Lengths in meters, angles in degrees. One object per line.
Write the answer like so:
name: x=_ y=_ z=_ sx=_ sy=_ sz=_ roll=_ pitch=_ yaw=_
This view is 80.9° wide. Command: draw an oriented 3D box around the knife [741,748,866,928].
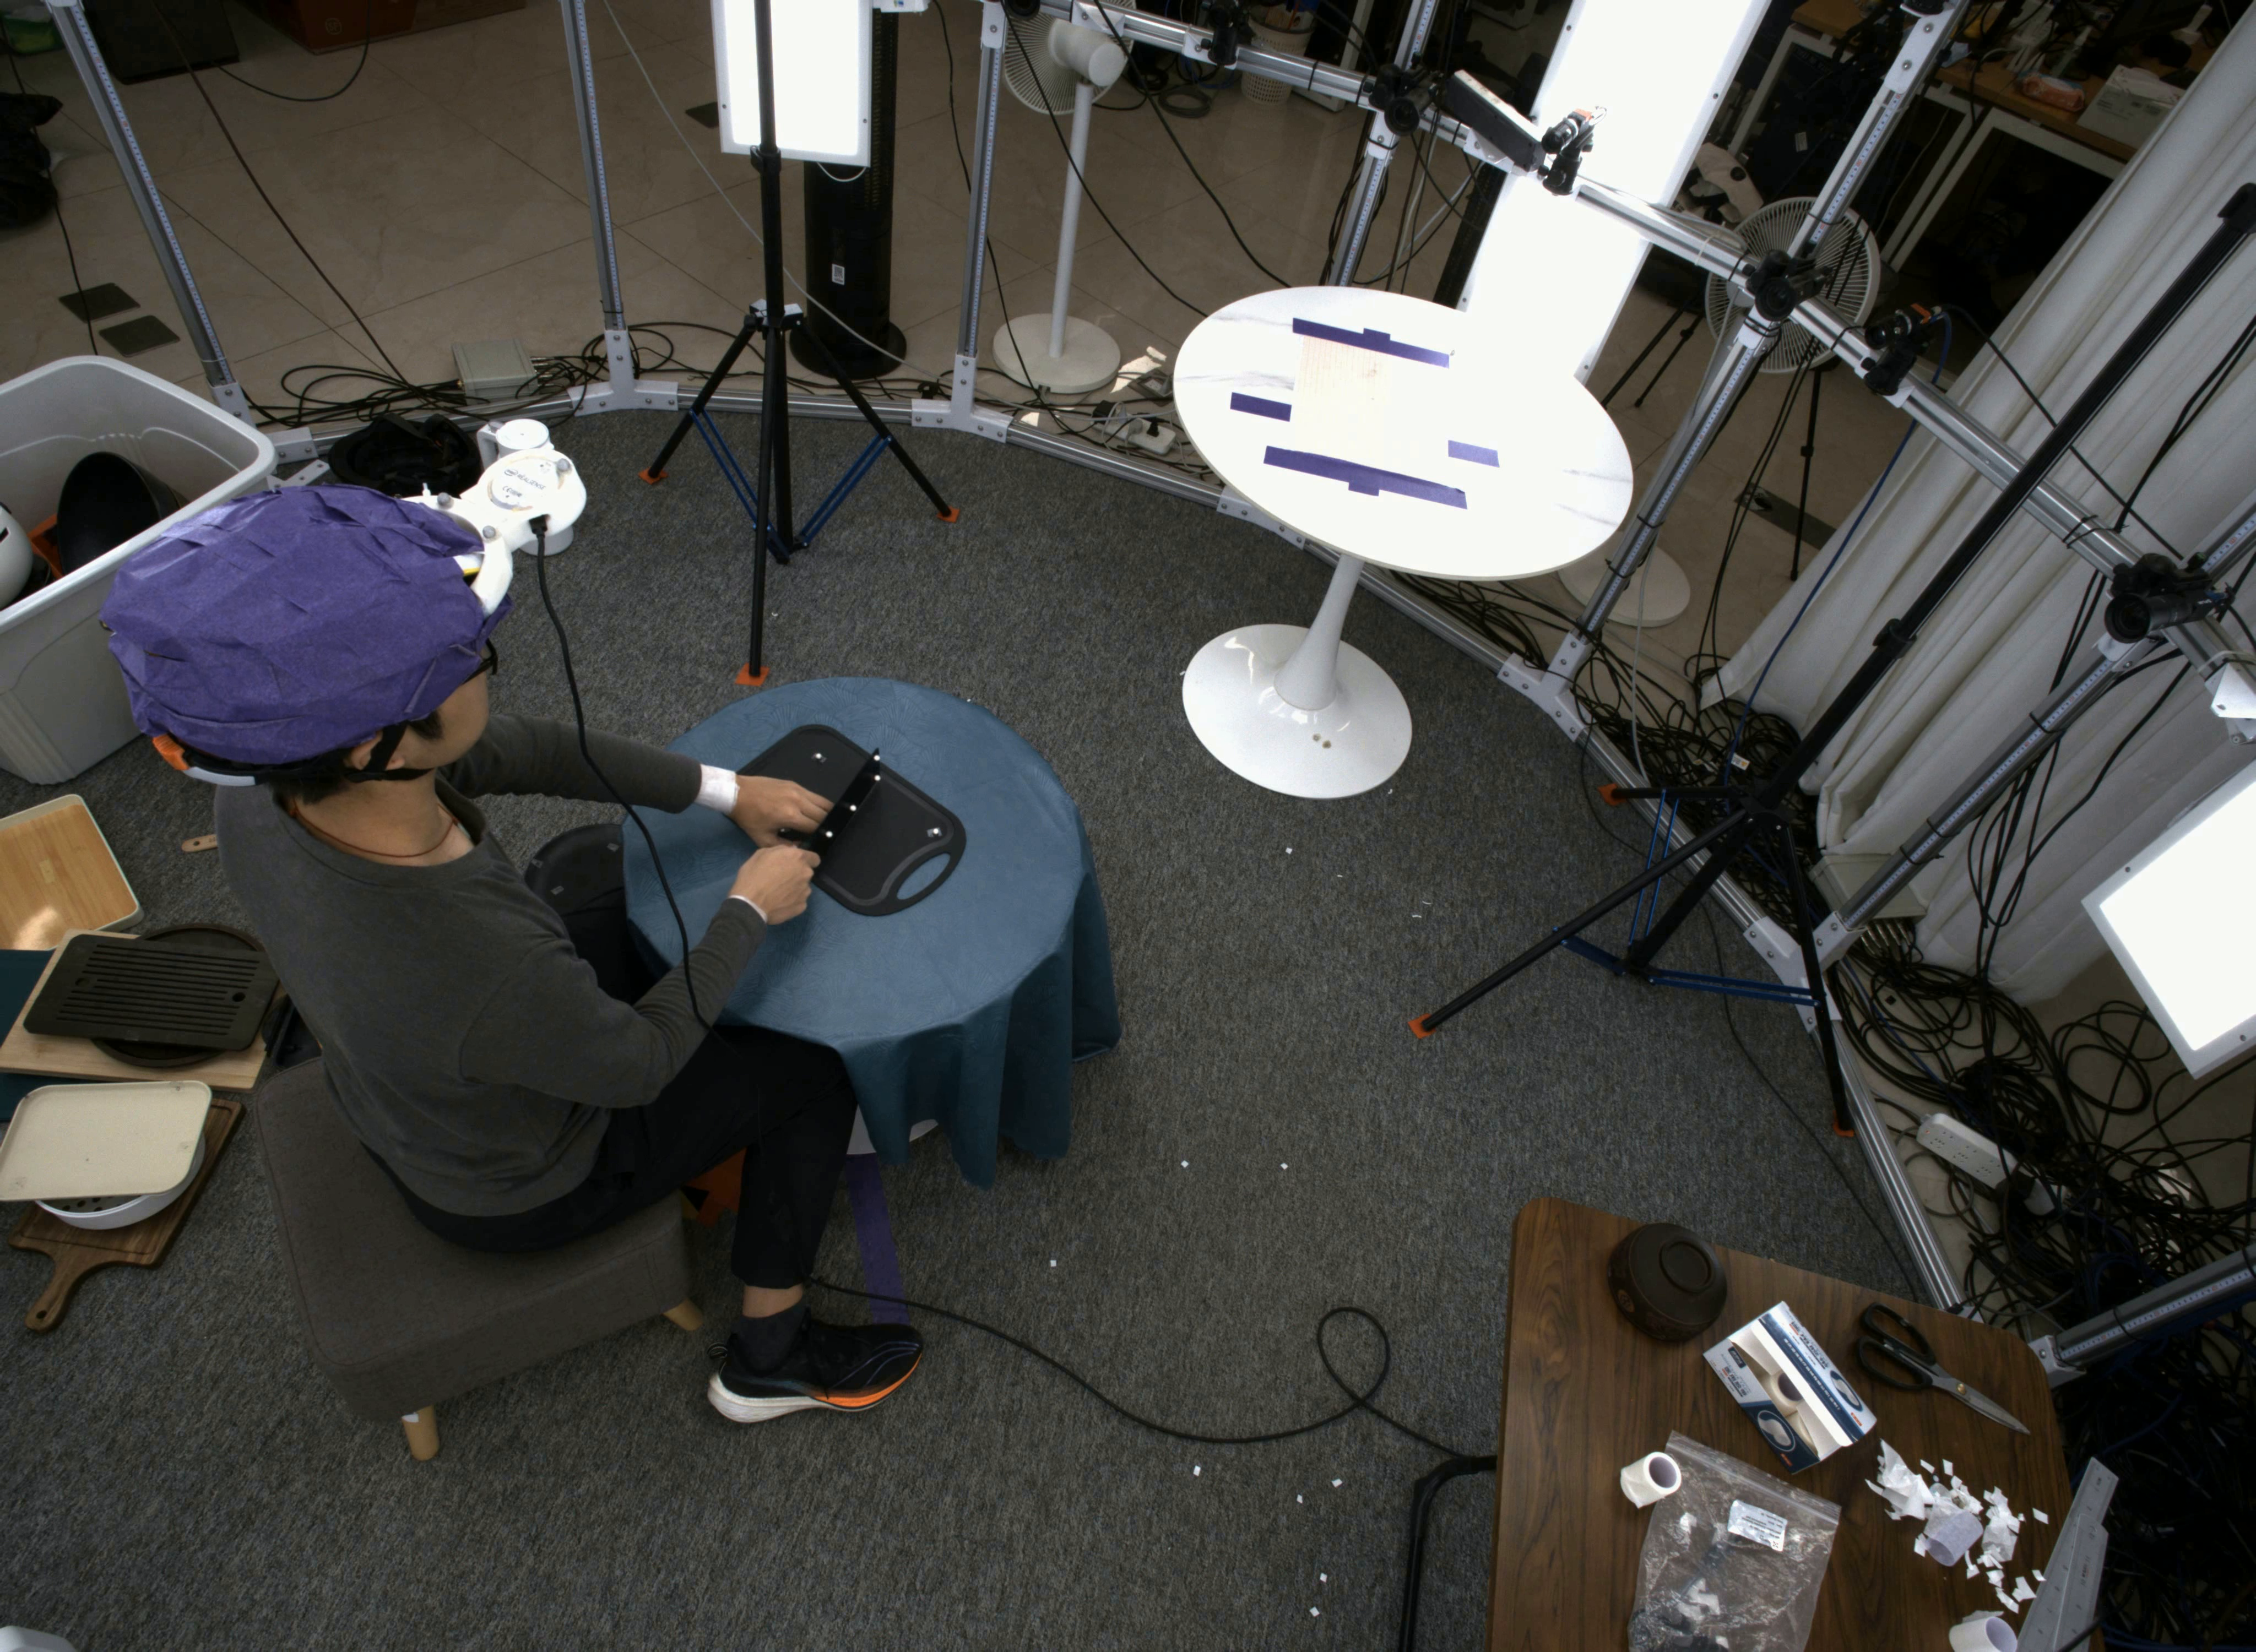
knife: x=-0.412 y=0.015 z=1.674 sx=0.020 sy=0.083 sz=0.300 roll=20 pitch=47 yaw=10

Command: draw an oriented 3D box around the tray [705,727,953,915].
tray: x=-0.394 y=-0.011 z=1.744 sx=0.319 sy=0.010 sz=0.211 roll=34 pitch=52 yaw=13
